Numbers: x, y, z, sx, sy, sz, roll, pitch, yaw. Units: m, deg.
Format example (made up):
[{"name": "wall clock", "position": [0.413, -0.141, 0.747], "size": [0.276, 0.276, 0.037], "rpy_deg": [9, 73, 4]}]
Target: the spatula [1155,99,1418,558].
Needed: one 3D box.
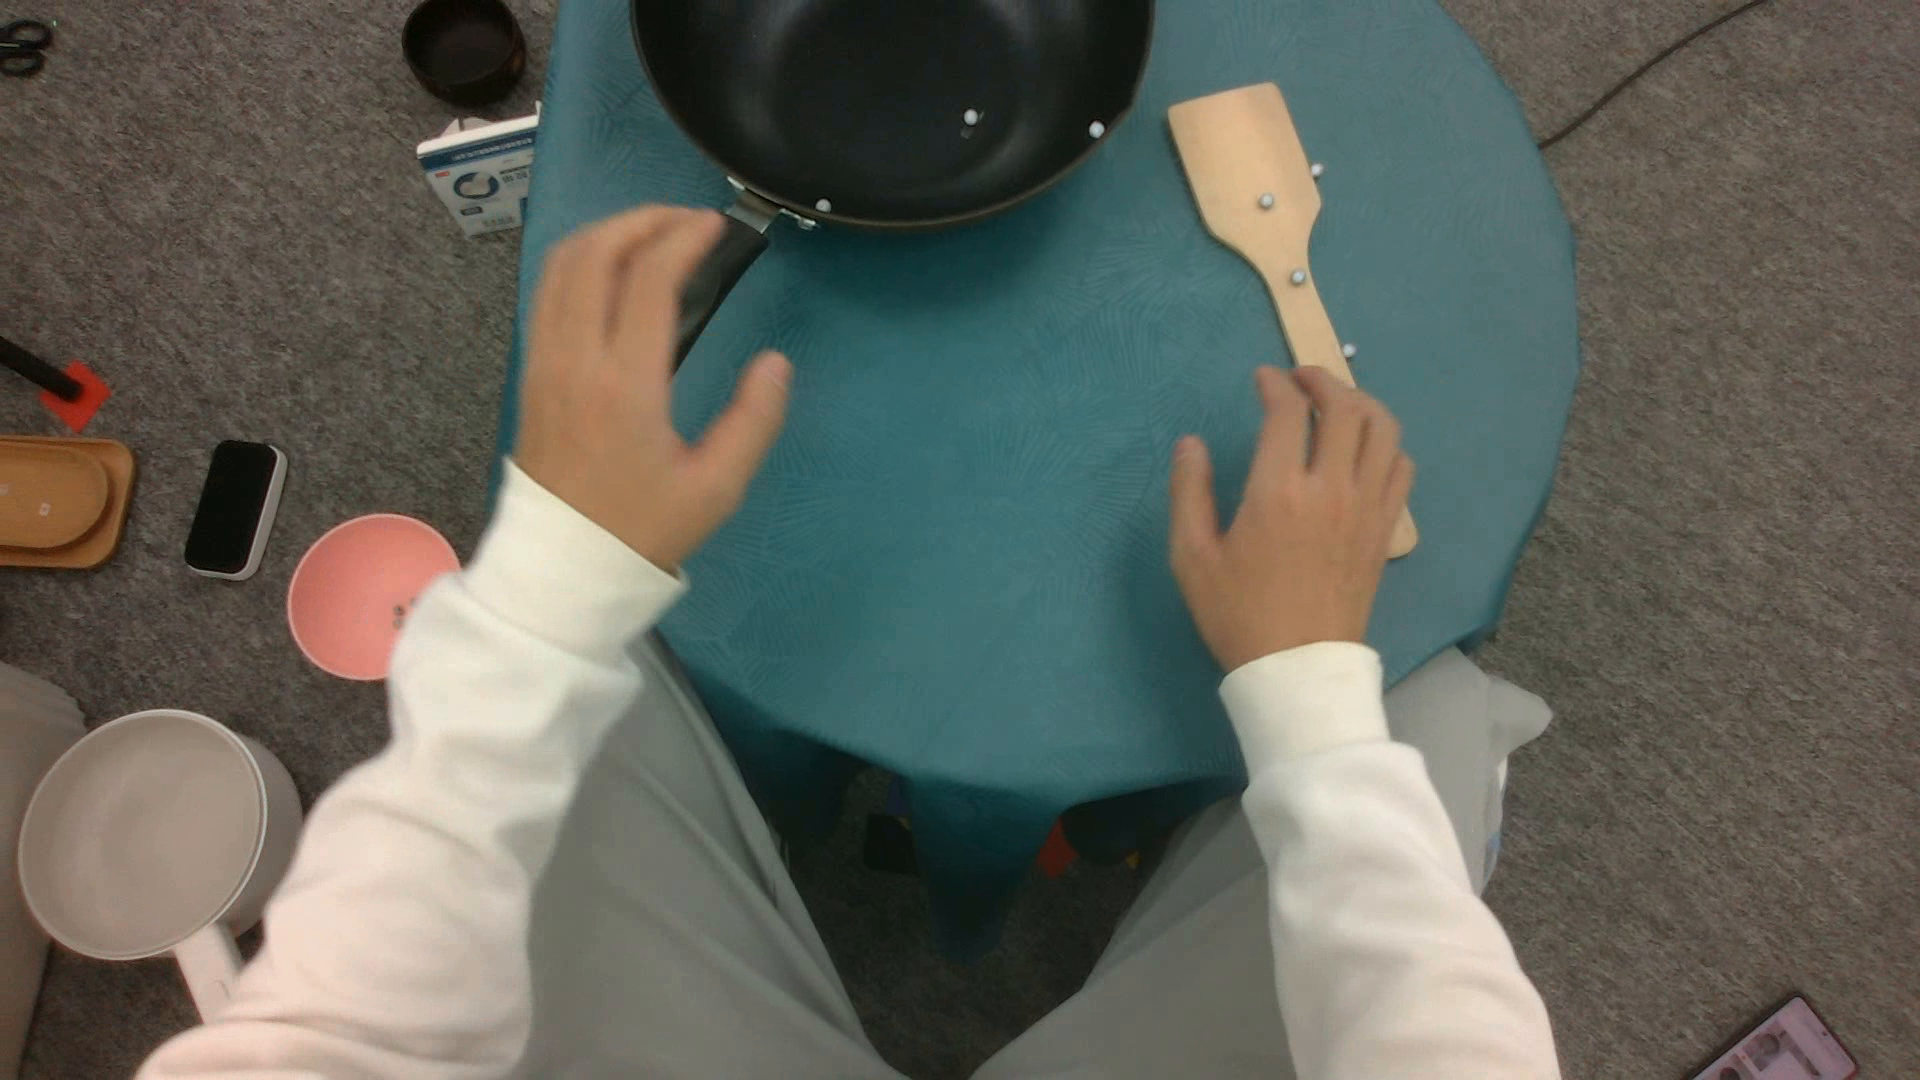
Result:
[{"name": "spatula", "position": [0.193, -0.124, 0.785], "size": [0.072, 0.010, 0.293], "rpy_deg": [-17, 73, -6]}]

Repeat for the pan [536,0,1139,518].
[{"name": "pan", "position": [-0.084, -0.199, 0.771], "size": [0.288, 0.086, 0.464], "rpy_deg": [26, 76, 9]}]
